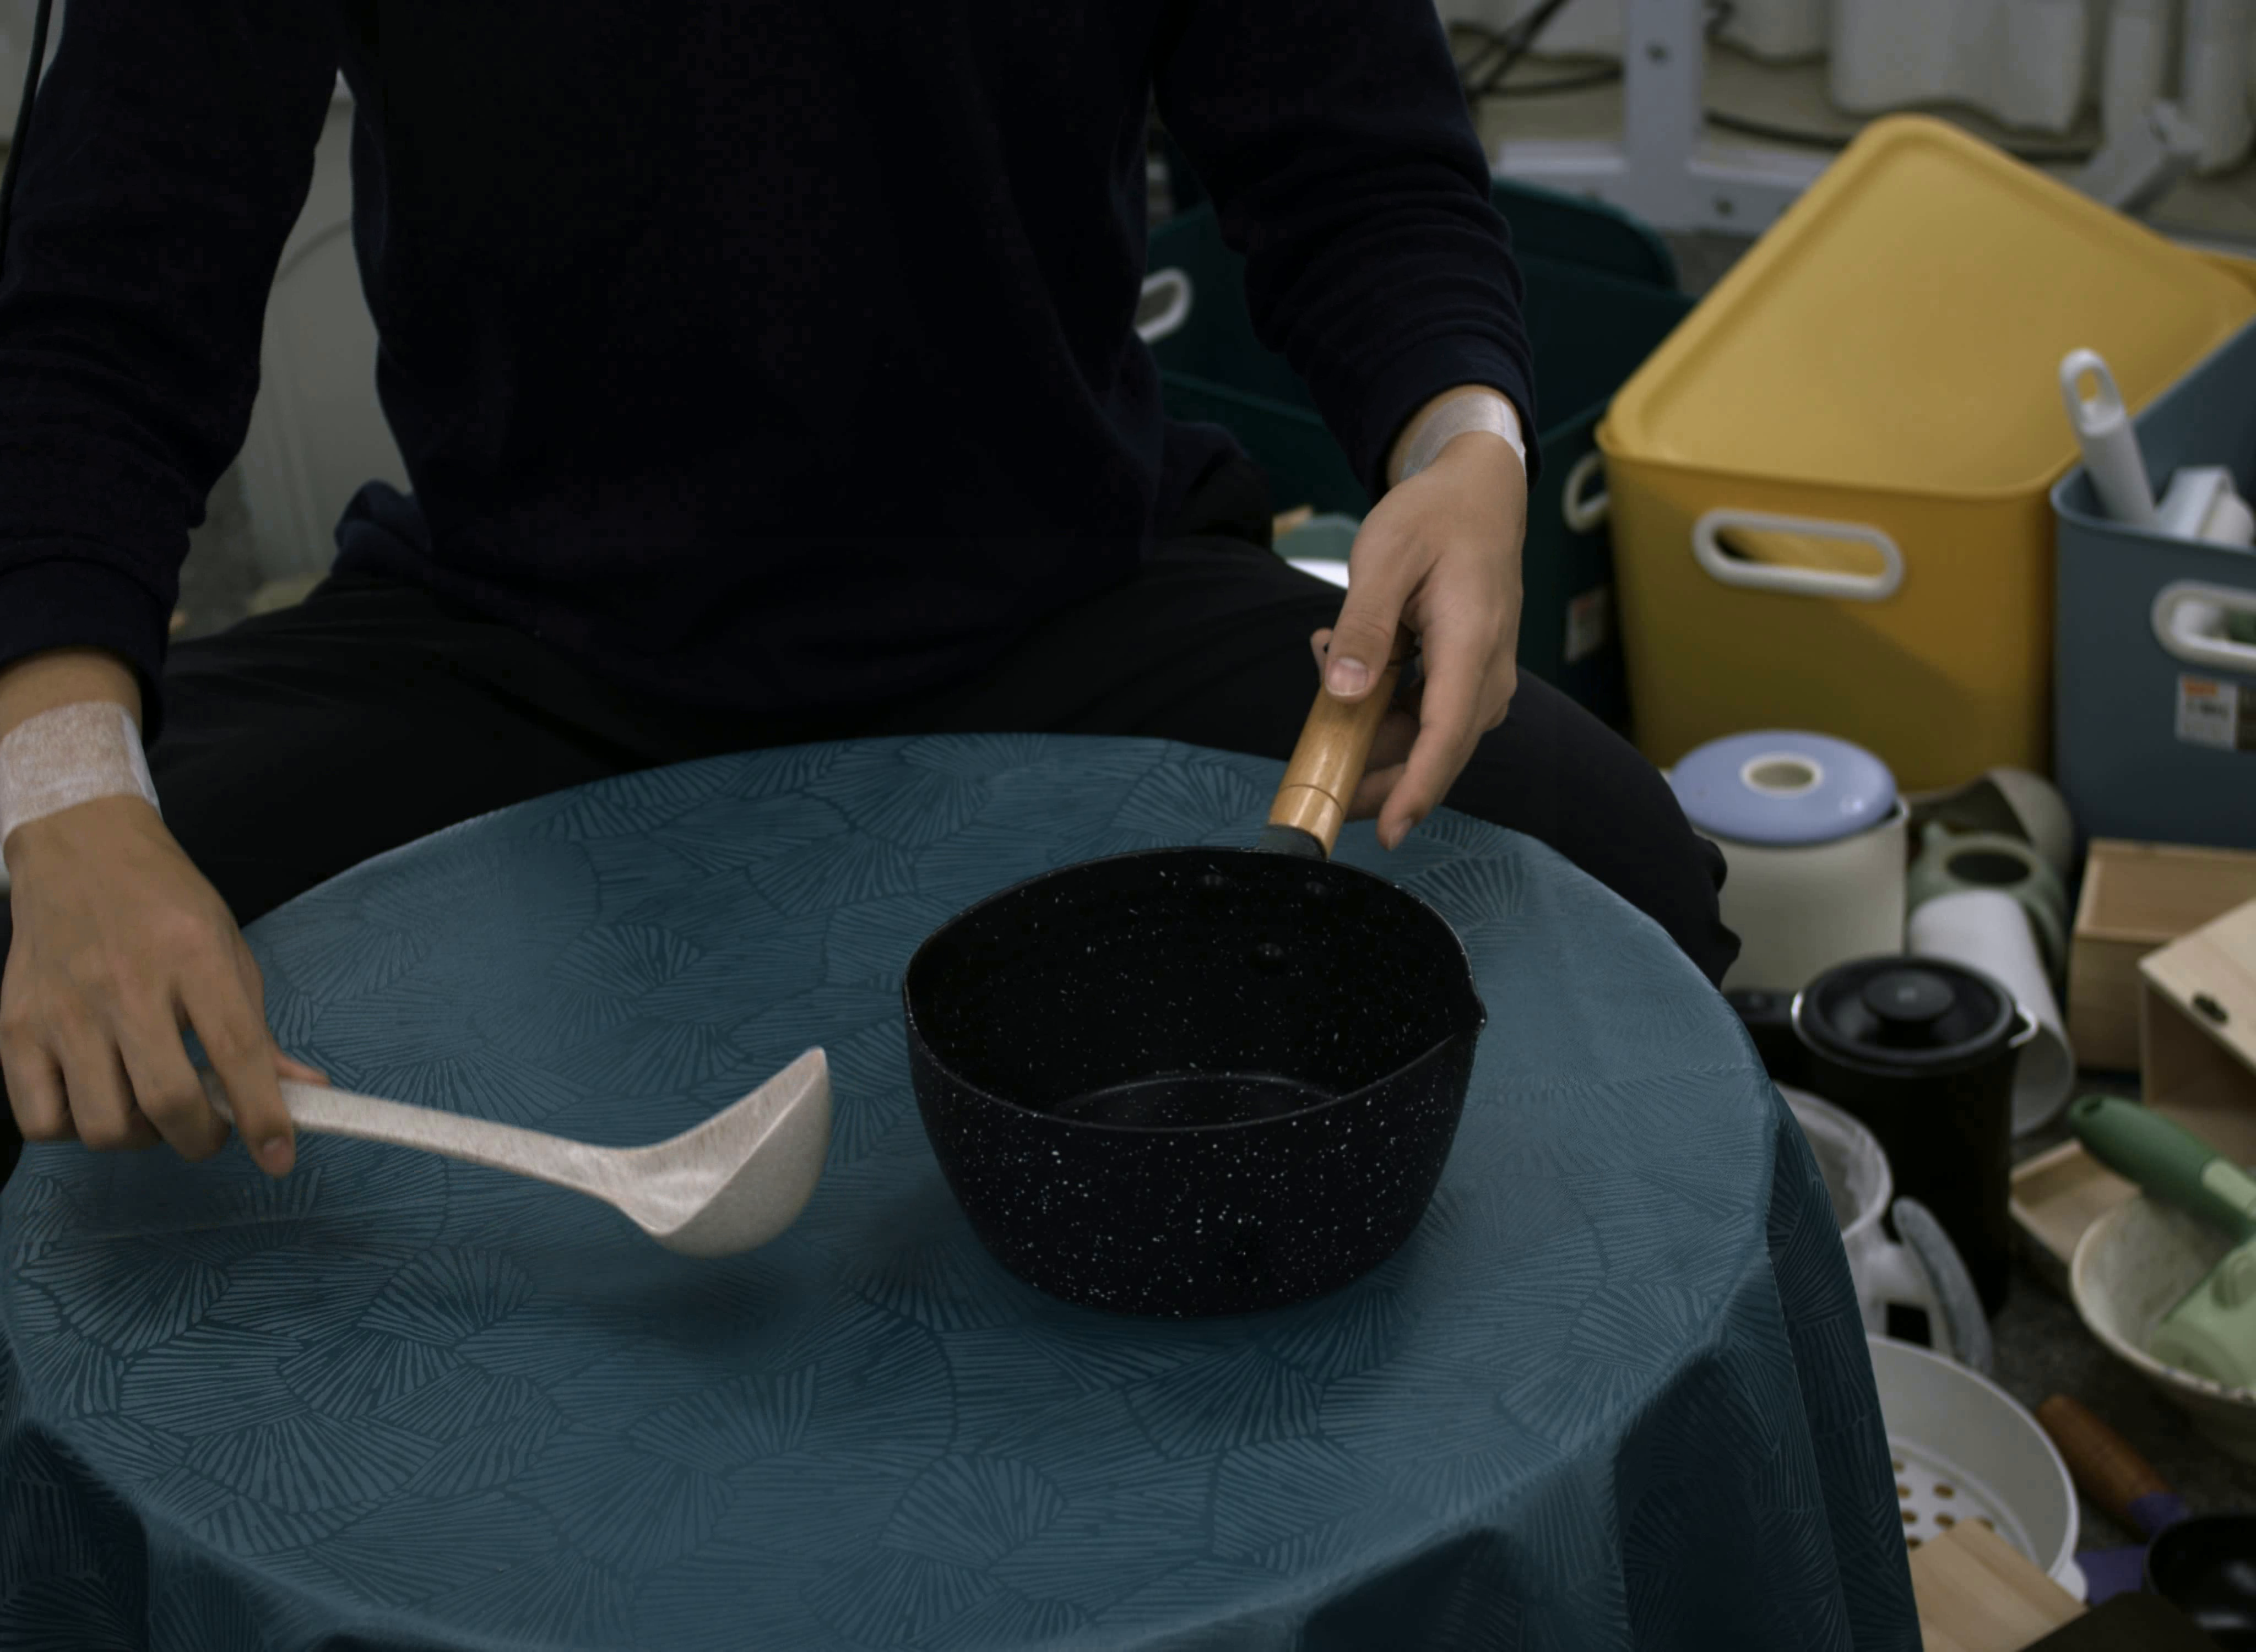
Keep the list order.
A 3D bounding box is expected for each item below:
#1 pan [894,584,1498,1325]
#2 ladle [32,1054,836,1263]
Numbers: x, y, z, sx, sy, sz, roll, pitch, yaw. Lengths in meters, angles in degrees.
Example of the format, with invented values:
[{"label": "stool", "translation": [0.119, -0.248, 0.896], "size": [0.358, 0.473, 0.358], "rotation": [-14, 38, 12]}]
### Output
[{"label": "pan", "translation": [0.043, 0.040, 1.900], "size": [0.206, 0.107, 0.349], "rotation": [4, 30, 16]}, {"label": "ladle", "translation": [-0.228, 0.085, 1.818], "size": [0.273, 0.068, 0.091], "rotation": [11, 30, 12]}]
